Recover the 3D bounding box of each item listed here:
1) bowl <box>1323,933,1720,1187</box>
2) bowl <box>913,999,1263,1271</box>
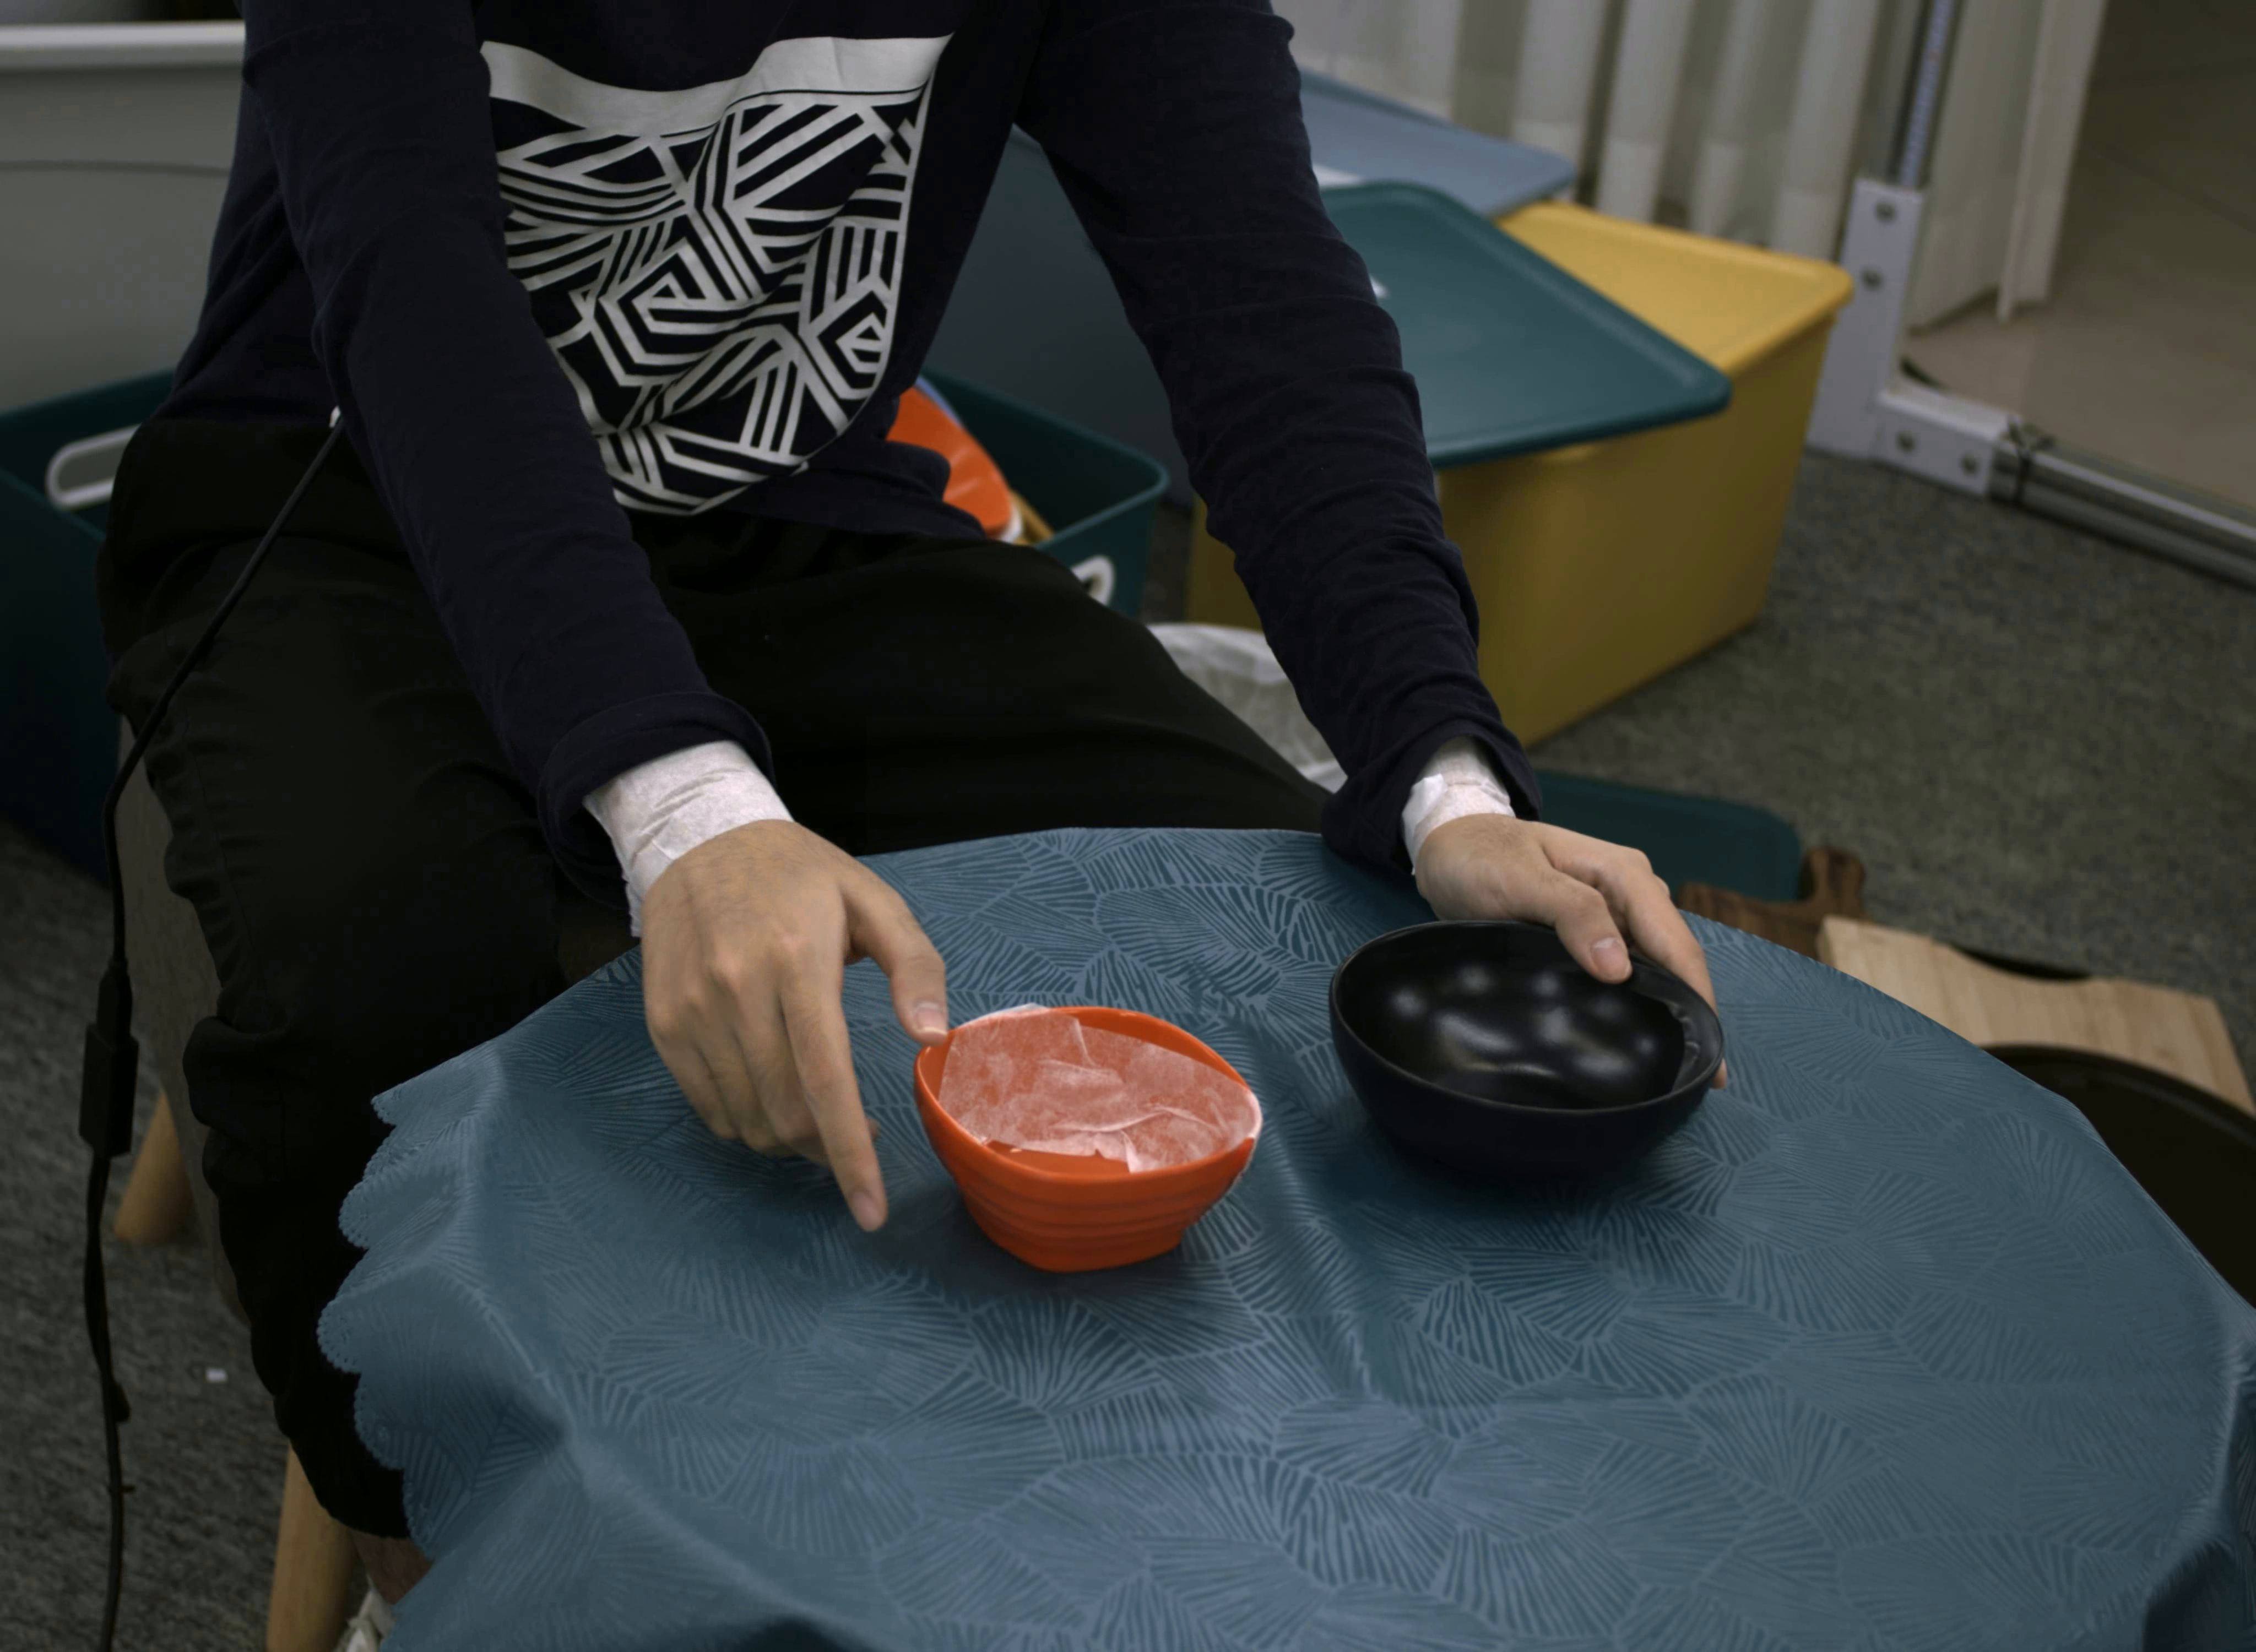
[{"bbox_3d":[0.135,0.088,1.857,0.139,0.049,0.141,4,23,-2],"label":"bowl"},{"bbox_3d":[-0.016,0.108,1.776,0.118,0.051,0.119,5,28,-3],"label":"bowl"}]
